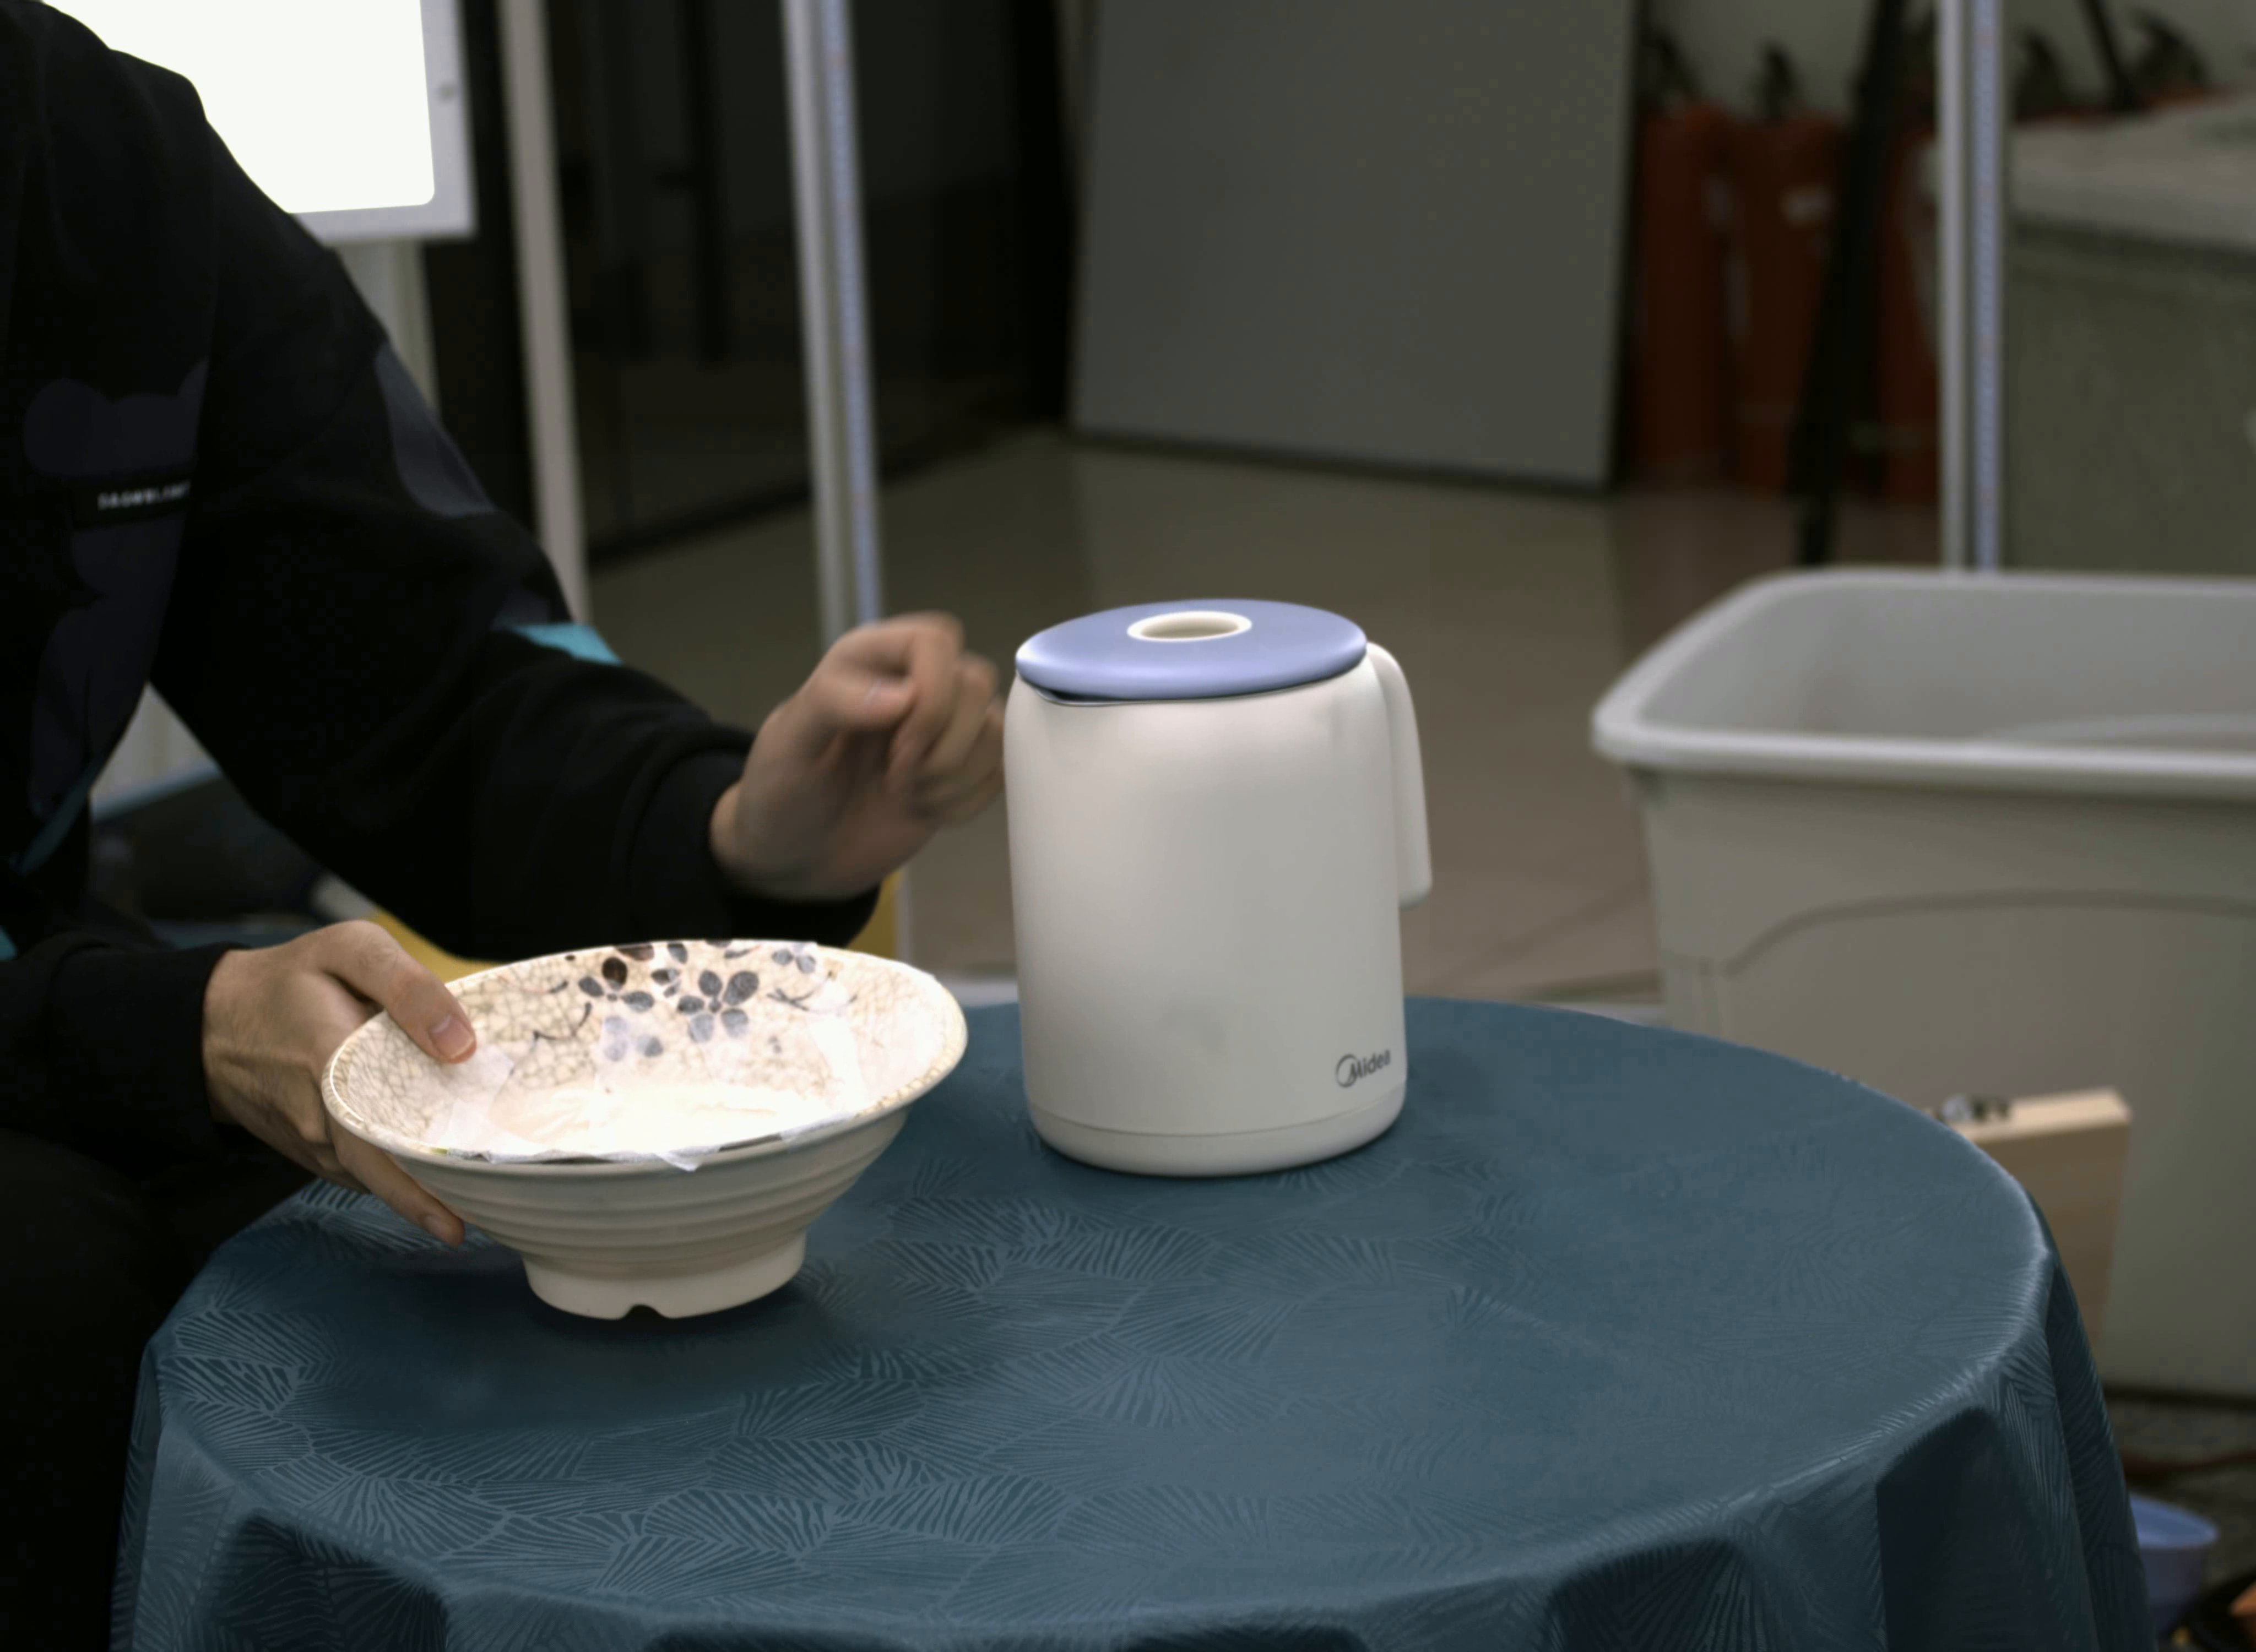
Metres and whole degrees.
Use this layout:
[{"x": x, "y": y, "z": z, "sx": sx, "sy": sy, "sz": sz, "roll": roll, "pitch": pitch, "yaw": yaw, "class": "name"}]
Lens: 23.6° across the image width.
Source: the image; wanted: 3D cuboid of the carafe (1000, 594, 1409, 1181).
[{"x": 0.039, "y": 0.015, "z": 1.833, "sx": 0.133, "sy": 0.184, "sz": 0.187, "roll": 8, "pitch": 16, "yaw": 38, "class": "carafe"}]

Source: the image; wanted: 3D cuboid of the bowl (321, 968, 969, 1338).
[{"x": -0.145, "y": 0.108, "z": 1.685, "sx": 0.201, "sy": 0.079, "sz": 0.204, "roll": -6, "pitch": 14, "yaw": 1, "class": "bowl"}]
